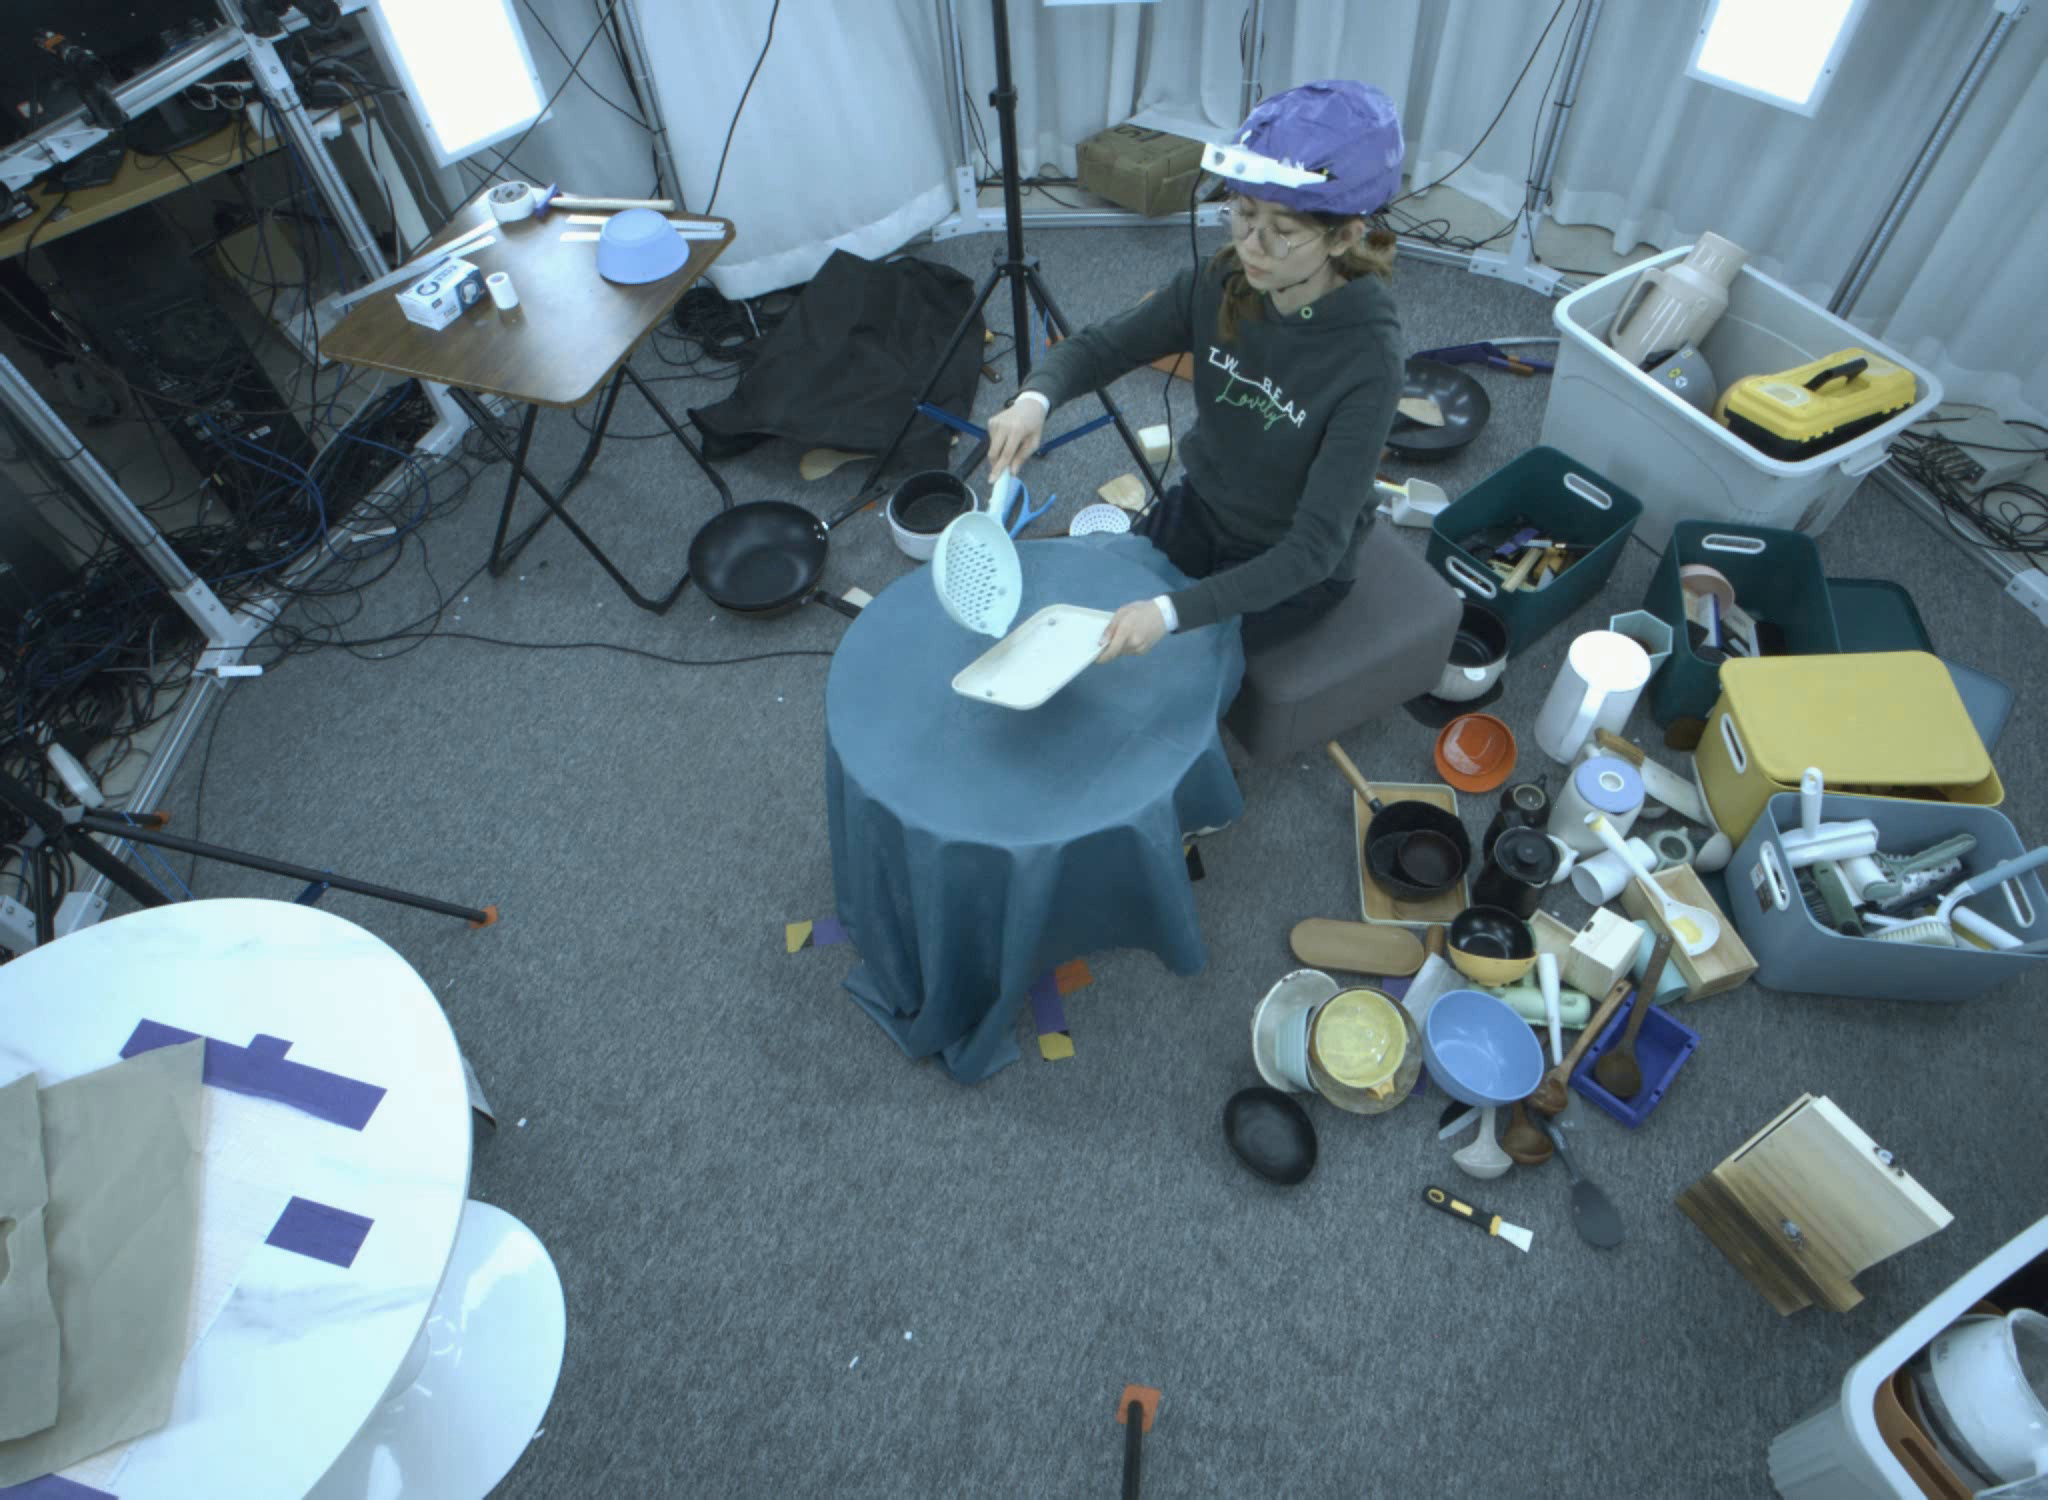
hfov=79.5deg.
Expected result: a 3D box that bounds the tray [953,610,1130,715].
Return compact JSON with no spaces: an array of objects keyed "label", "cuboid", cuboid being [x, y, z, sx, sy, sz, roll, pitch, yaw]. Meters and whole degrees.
[{"label":"tray","cuboid":[0.027,-0.126,1.739,0.167,0.018,0.242,17,45,40]}]

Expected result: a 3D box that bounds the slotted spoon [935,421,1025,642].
[{"label":"slotted spoon","cuboid":[-0.044,-0.327,1.744,0.074,0.173,0.358,4,70,39]}]
